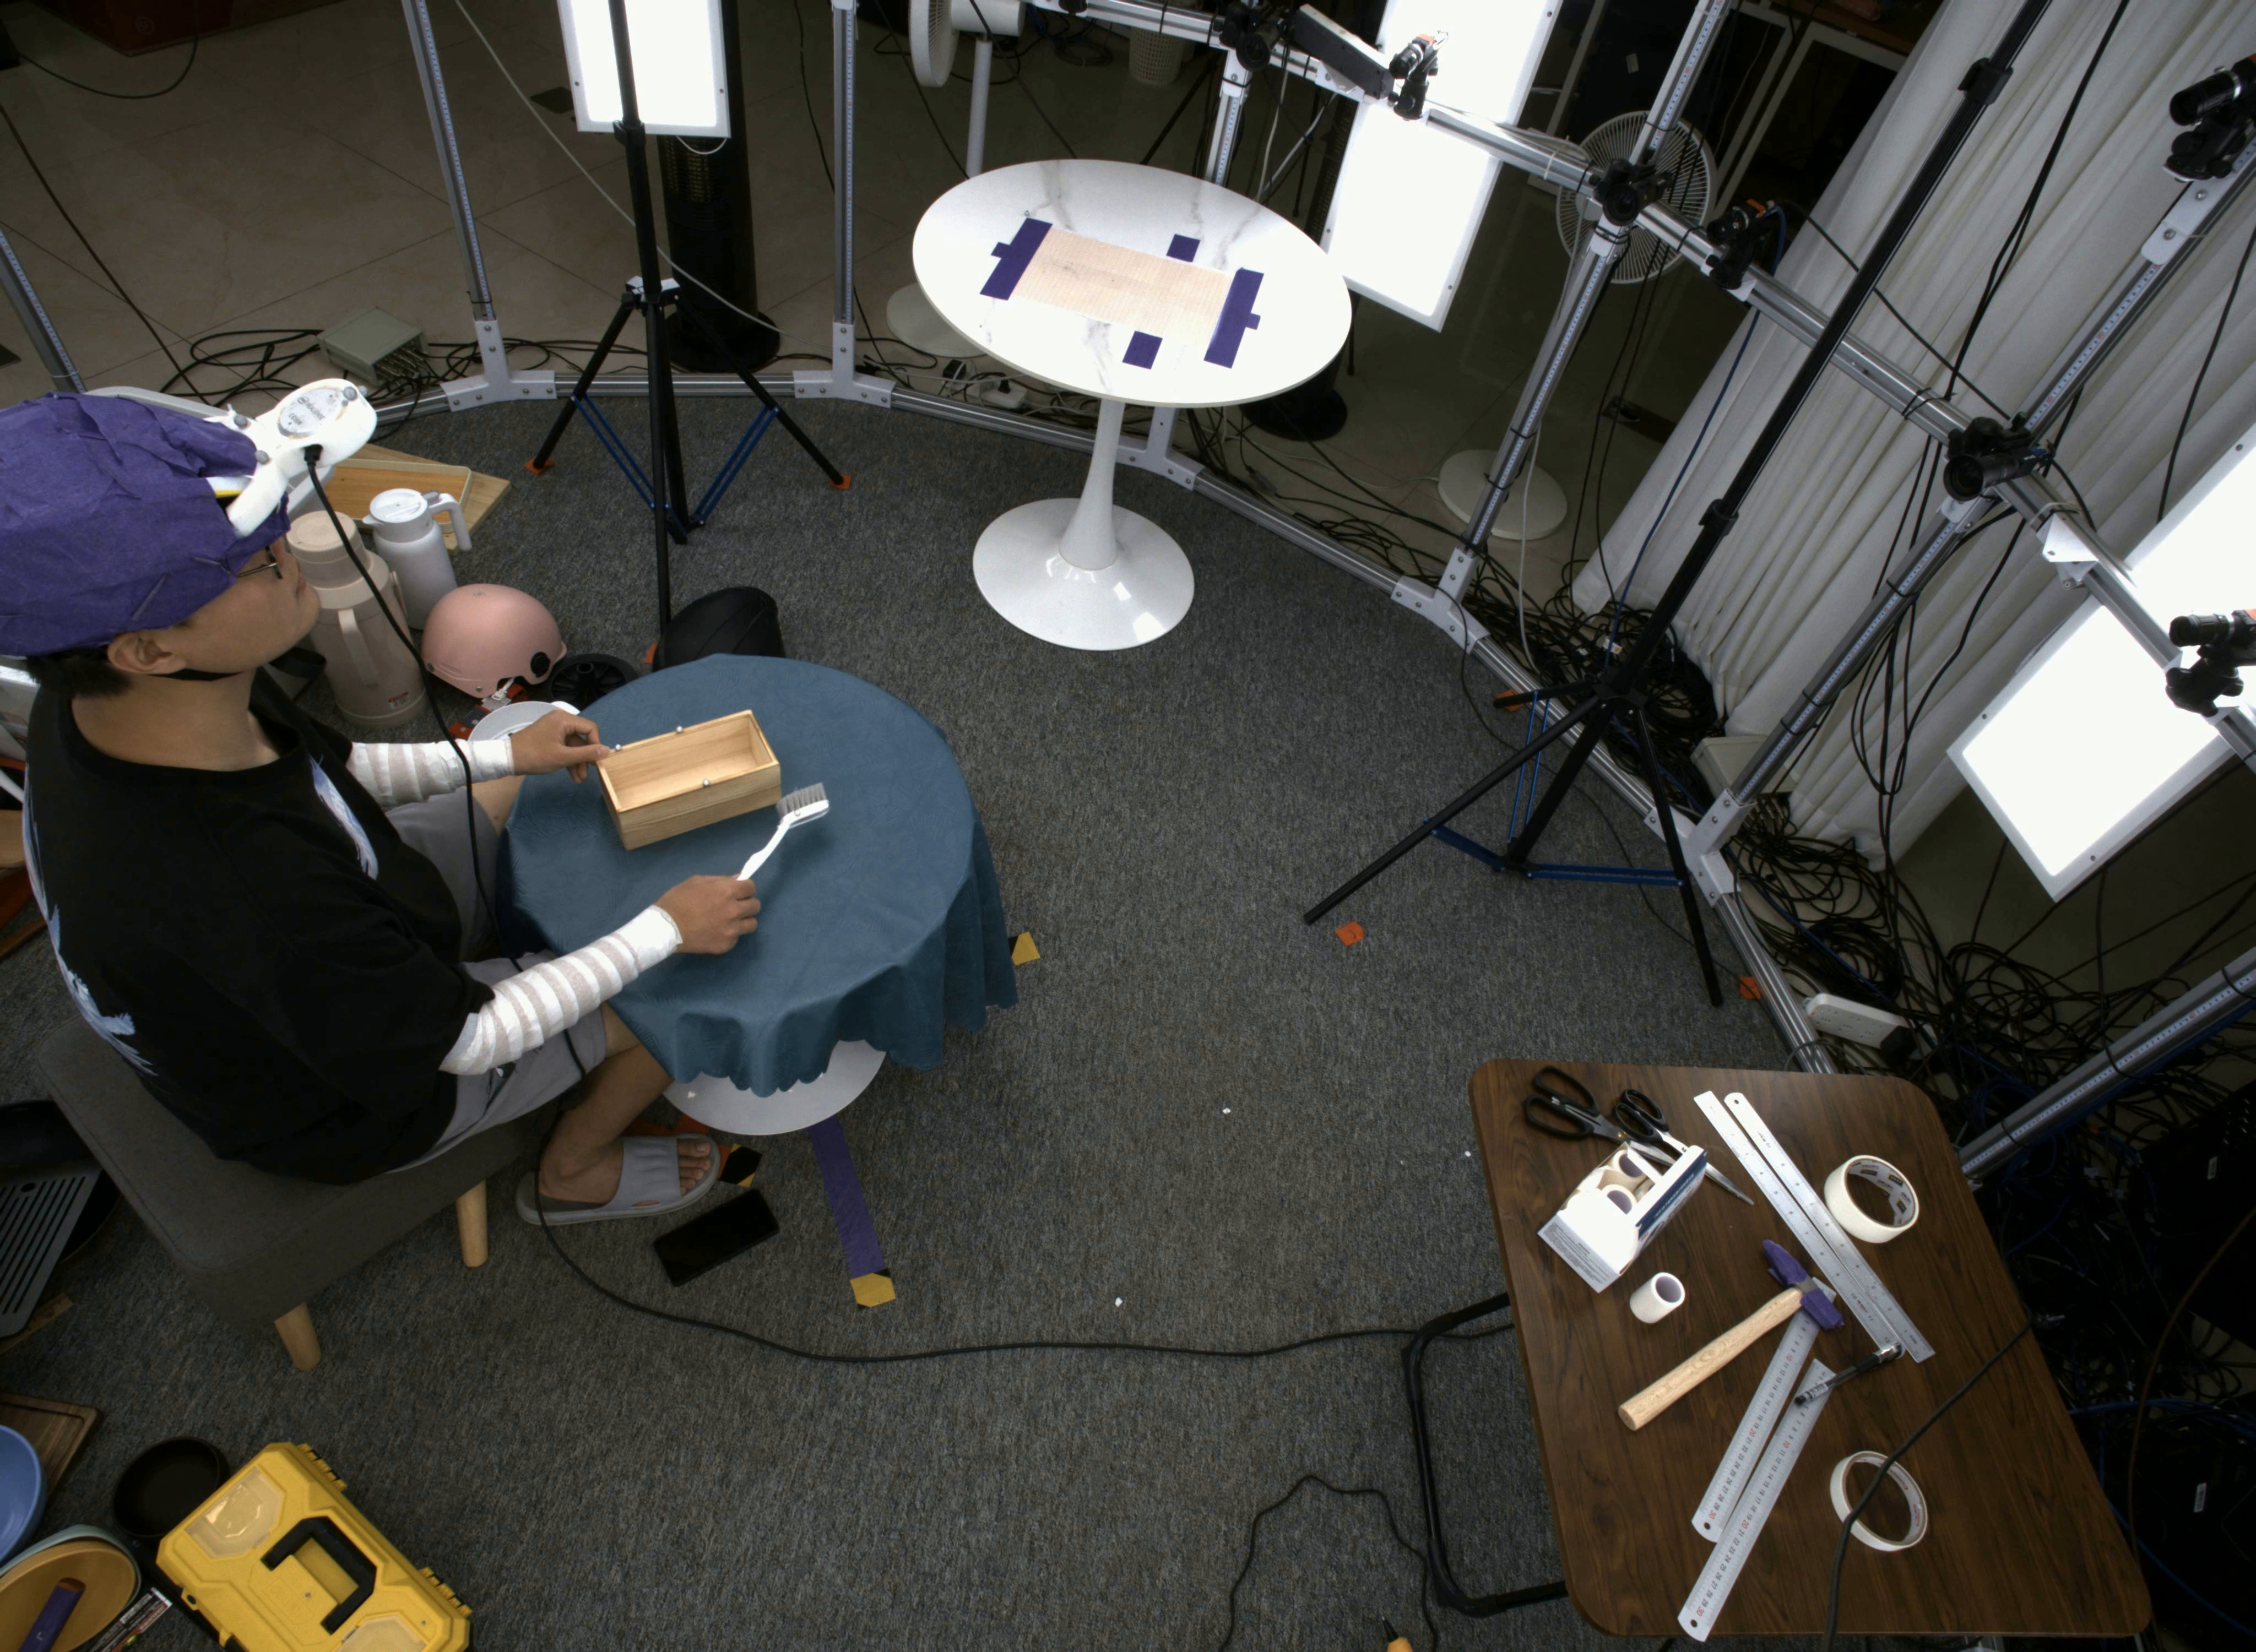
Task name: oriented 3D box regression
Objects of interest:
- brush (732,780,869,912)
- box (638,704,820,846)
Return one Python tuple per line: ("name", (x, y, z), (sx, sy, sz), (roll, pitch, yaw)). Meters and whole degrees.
("brush", (-0.423, 0.018, 1.645), (0.050, 0.034, 0.243), (47, 54, -1))
("box", (-0.528, -0.070, 1.710), (0.212, 0.082, 0.105), (-20, 60, -24))
